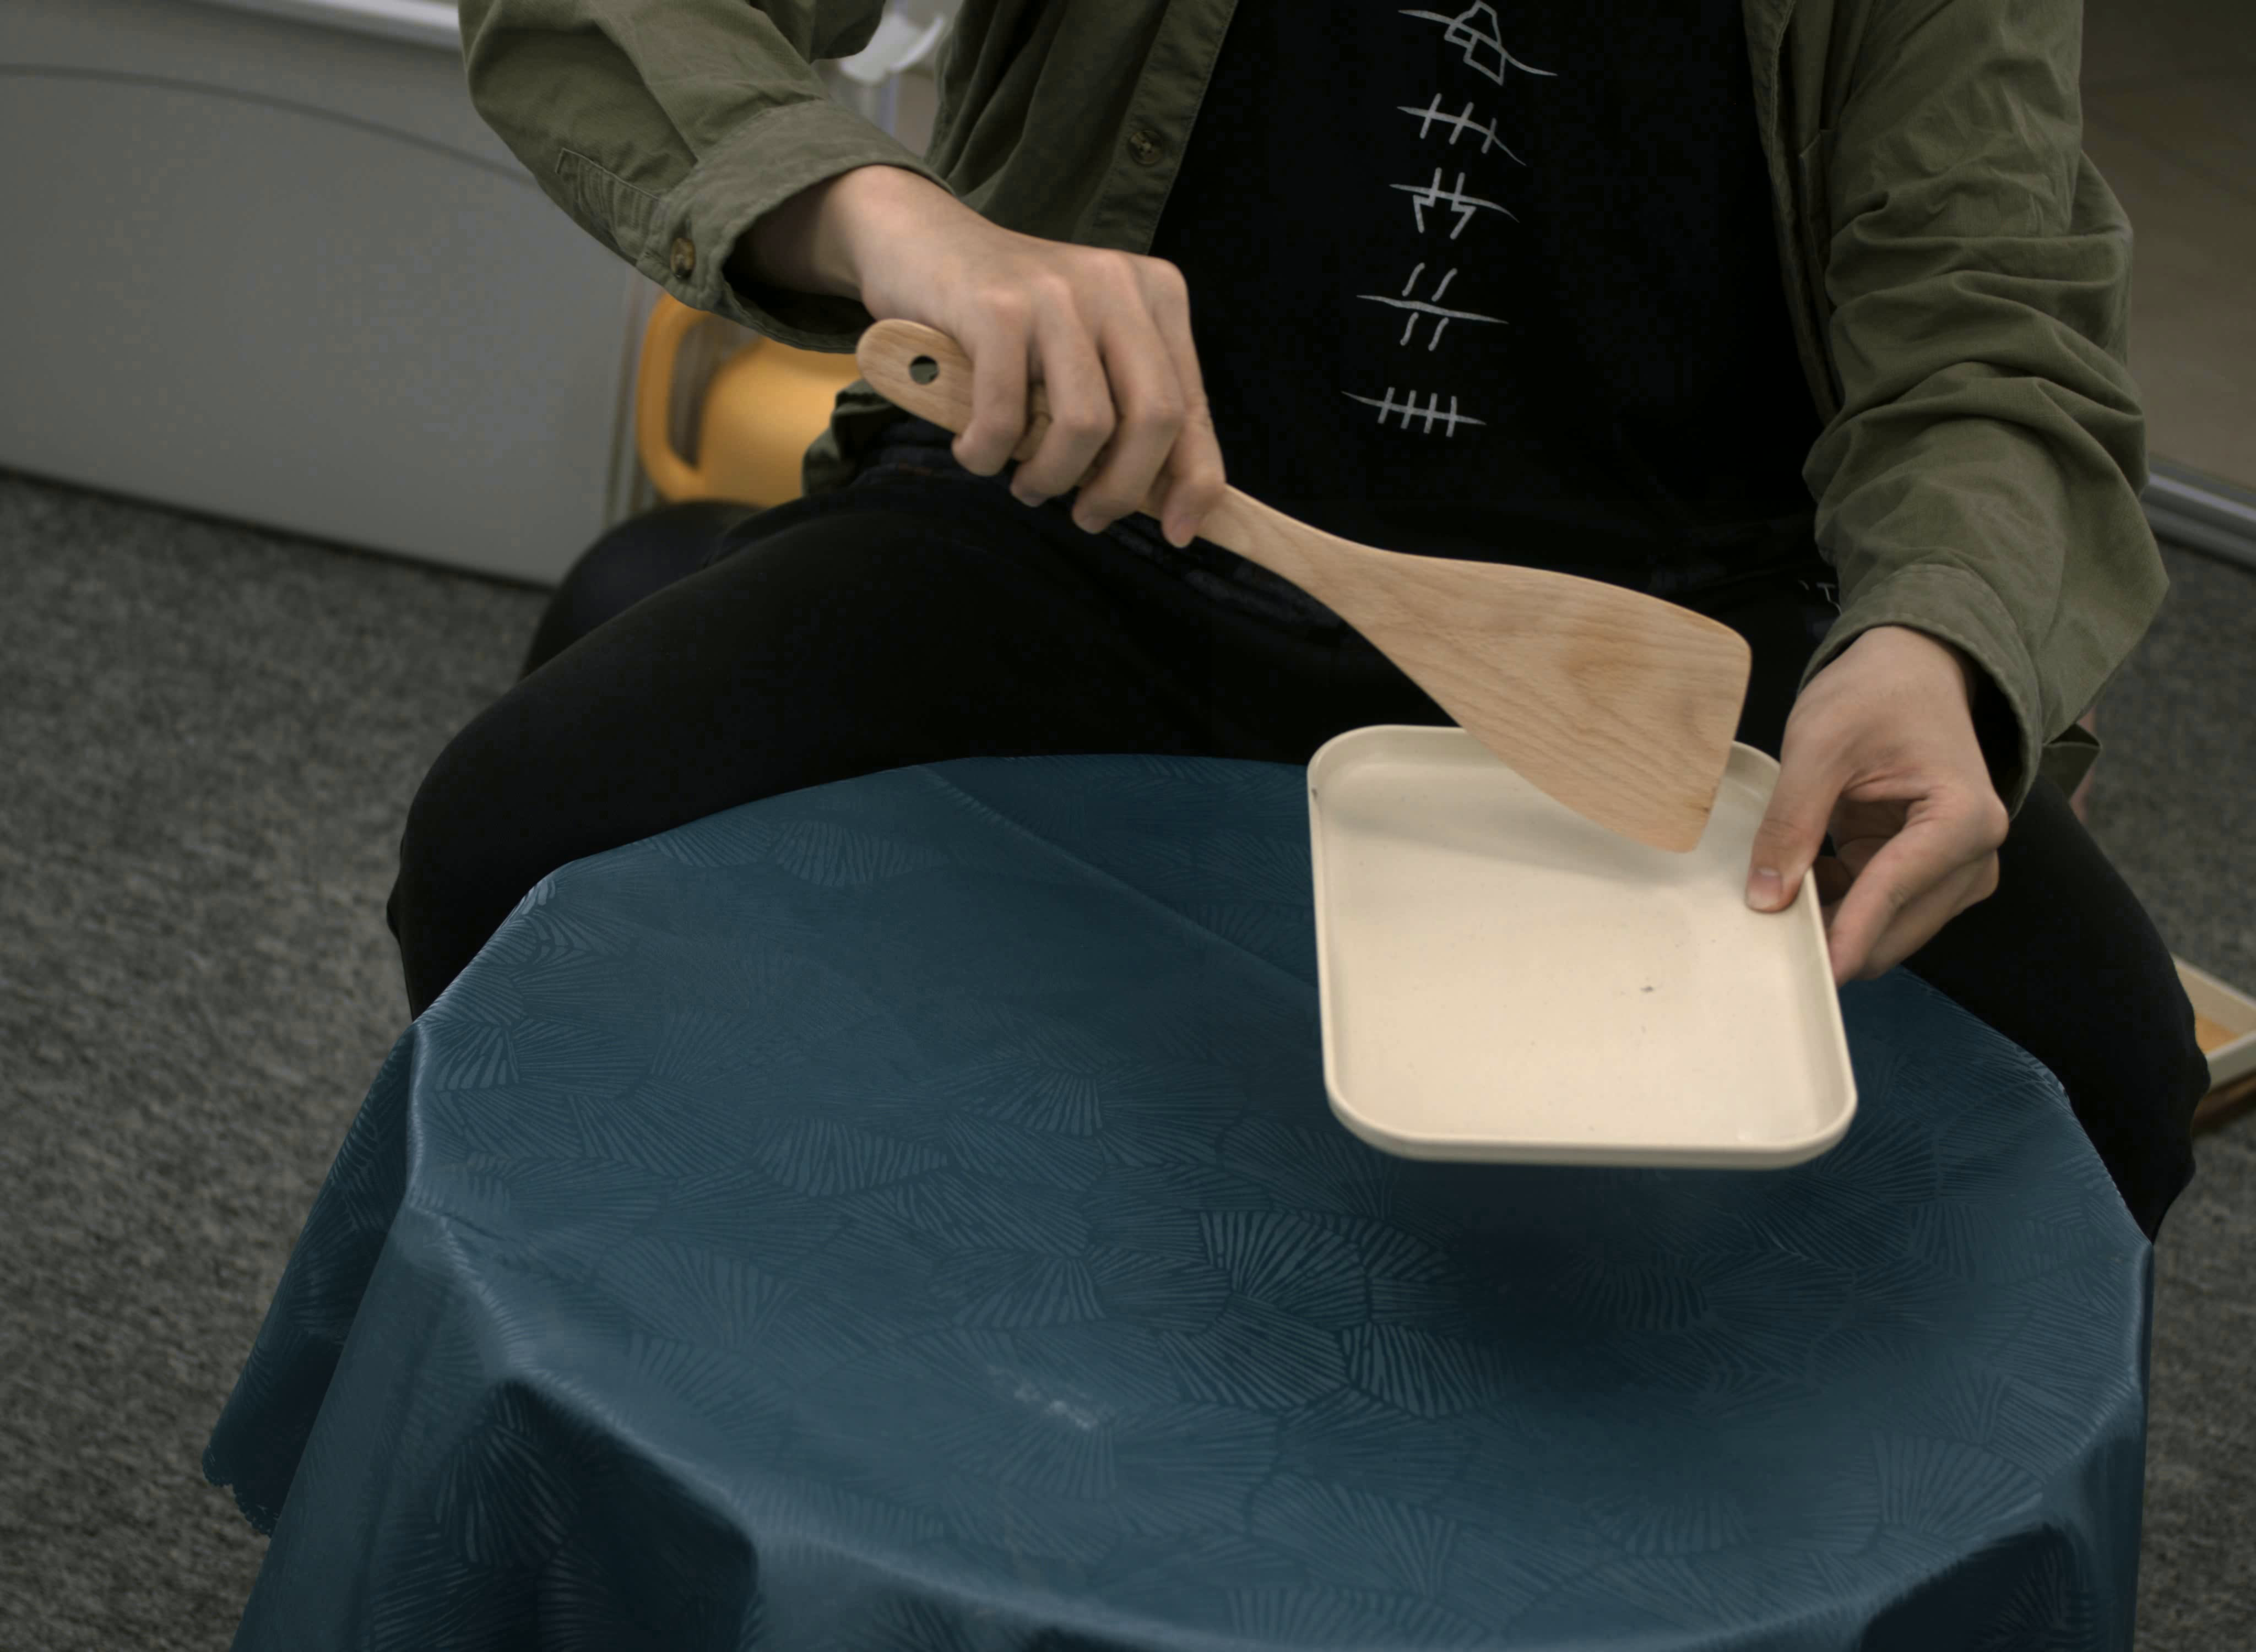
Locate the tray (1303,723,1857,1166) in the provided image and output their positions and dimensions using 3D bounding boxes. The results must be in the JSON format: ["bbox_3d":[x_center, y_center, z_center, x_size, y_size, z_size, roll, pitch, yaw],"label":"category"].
[{"bbox_3d":[0.145,0.038,1.758,0.171,0.017,0.241,2,33,-1],"label":"tray"}]

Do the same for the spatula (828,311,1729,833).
[{"bbox_3d":[0.051,-0.096,1.773,0.326,0.080,0.016,24,8,-7],"label":"spatula"}]
